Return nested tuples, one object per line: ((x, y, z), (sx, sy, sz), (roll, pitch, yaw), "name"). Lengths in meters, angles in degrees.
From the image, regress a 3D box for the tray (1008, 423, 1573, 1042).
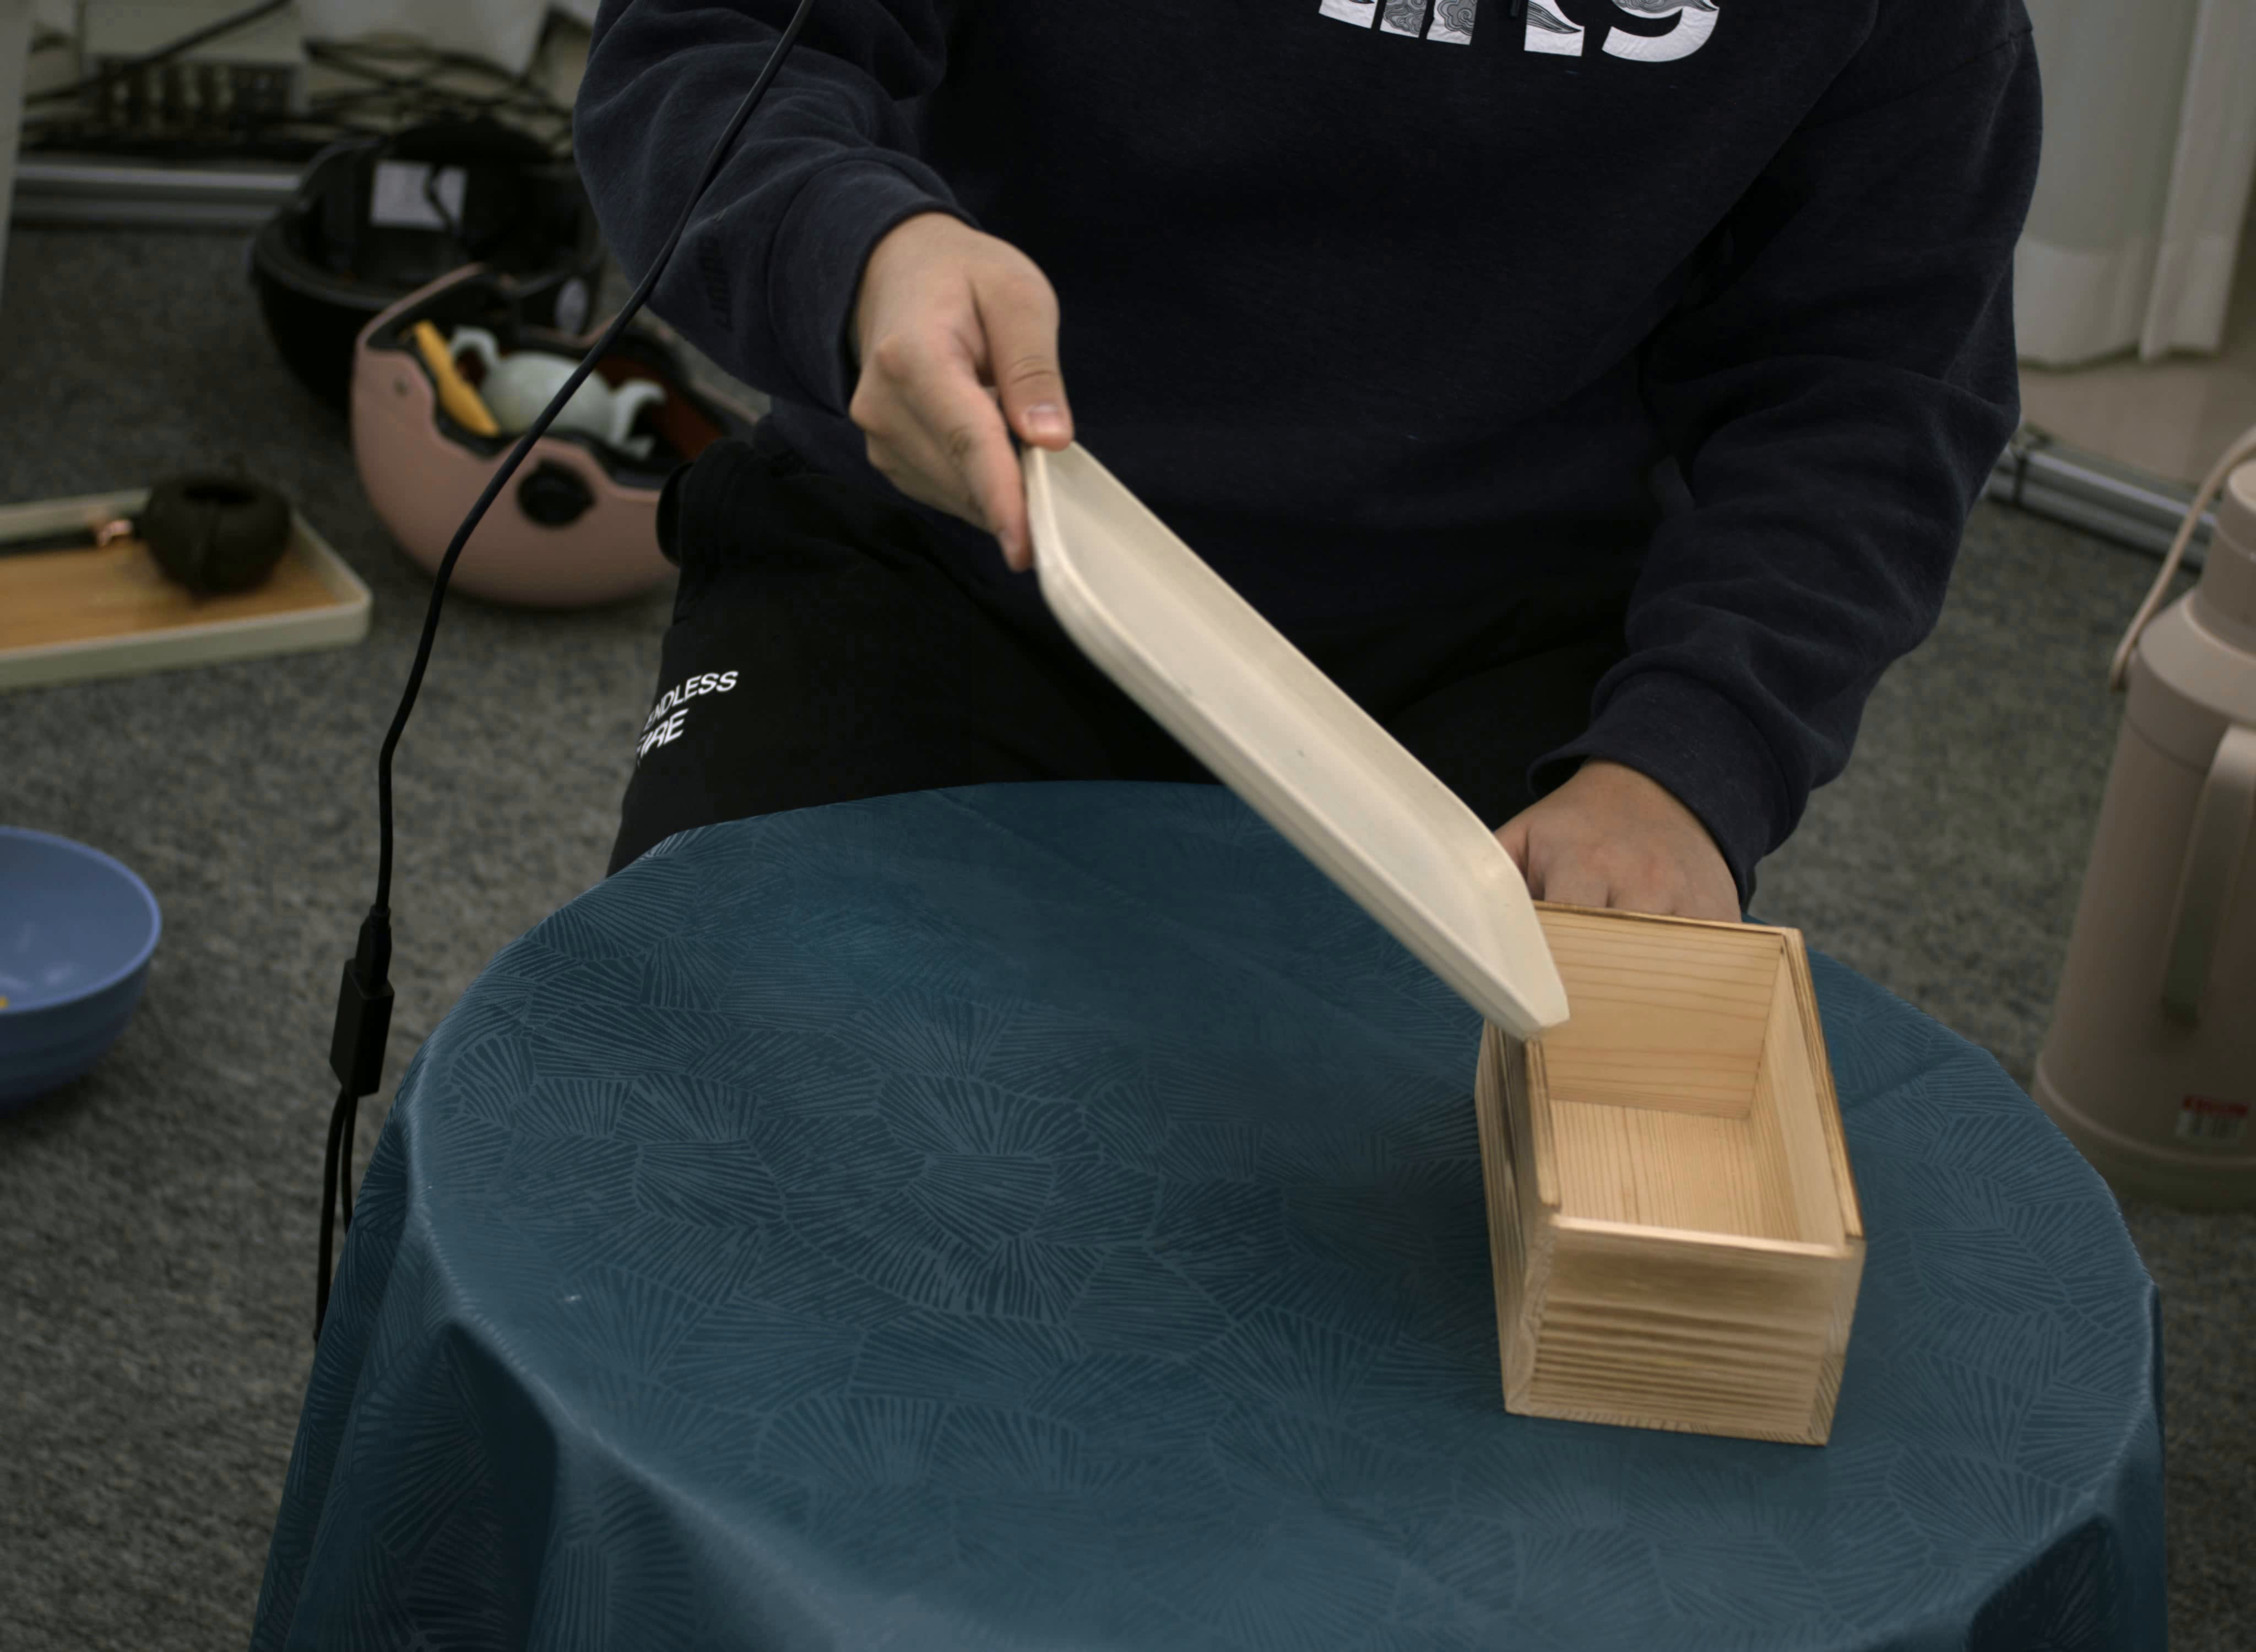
((0.049, -0.029, 1.726), (0.238, 0.017, 0.172), (41, 14, -19), "tray")

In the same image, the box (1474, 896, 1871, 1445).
((0.179, 0.112, 1.784), (0.107, 0.080, 0.212), (6, 26, -3), "box")
